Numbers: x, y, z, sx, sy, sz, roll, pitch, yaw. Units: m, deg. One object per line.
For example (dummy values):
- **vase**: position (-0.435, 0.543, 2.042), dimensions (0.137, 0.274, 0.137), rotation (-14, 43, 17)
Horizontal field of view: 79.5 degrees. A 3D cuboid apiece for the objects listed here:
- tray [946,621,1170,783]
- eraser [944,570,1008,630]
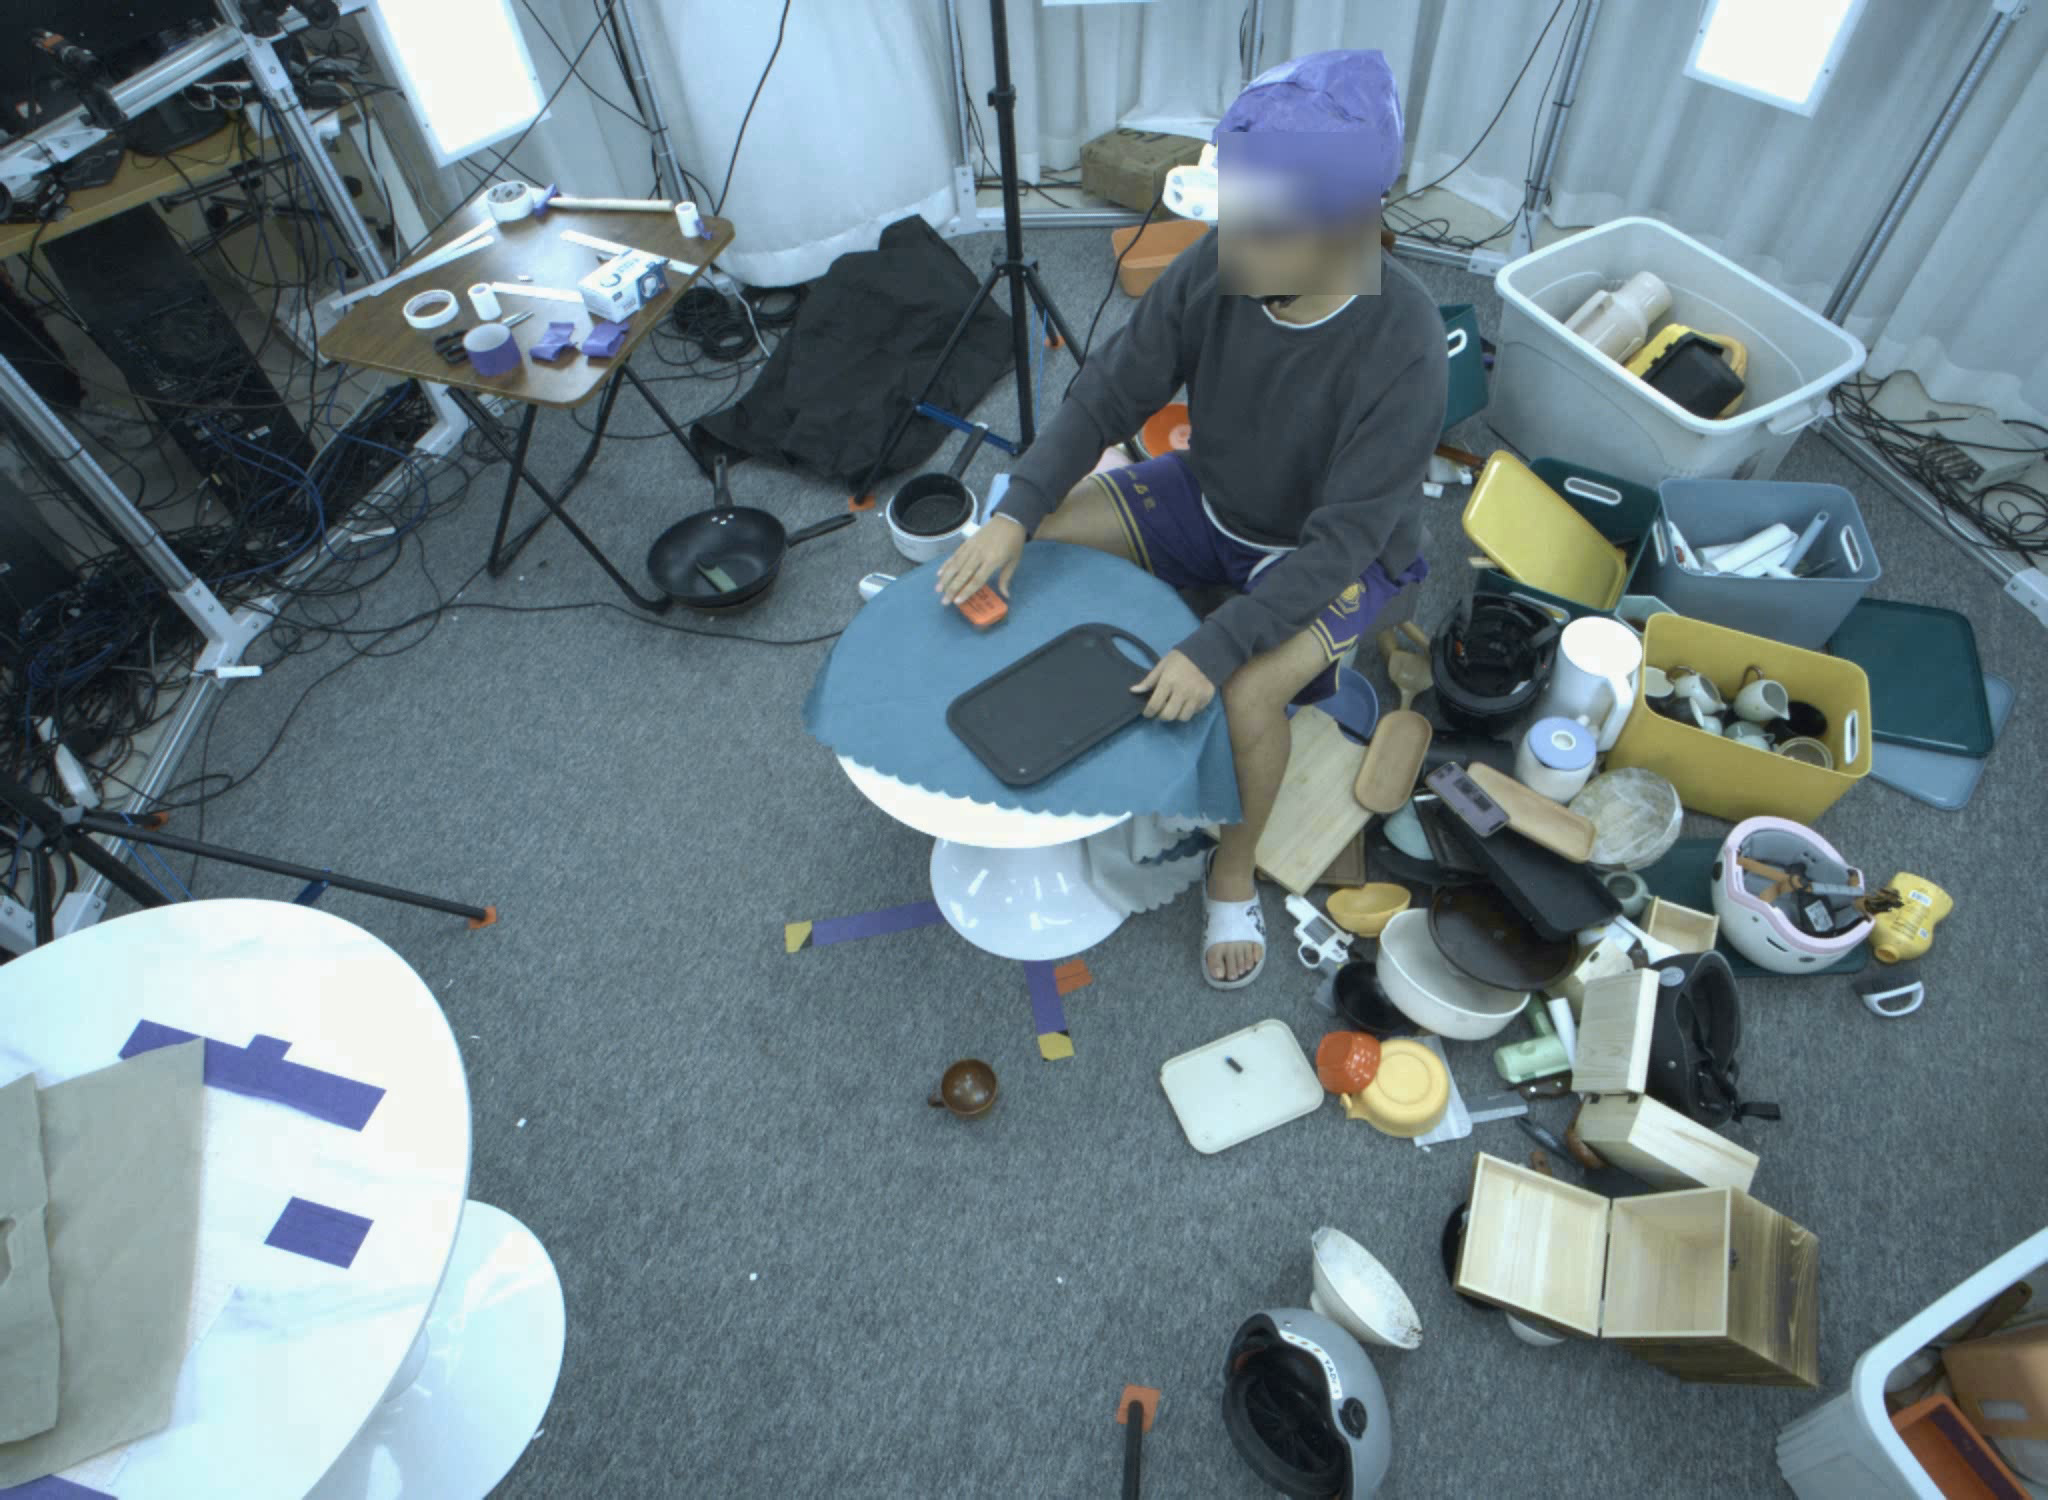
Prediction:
- **tray**: position (0.057, -0.083, 1.832), dimensions (0.328, 0.010, 0.207), rotation (-32, 55, -19)
- **eraser**: position (-0.077, -0.238, 1.944), dimensions (0.059, 0.023, 0.106), rotation (-32, 61, -19)
